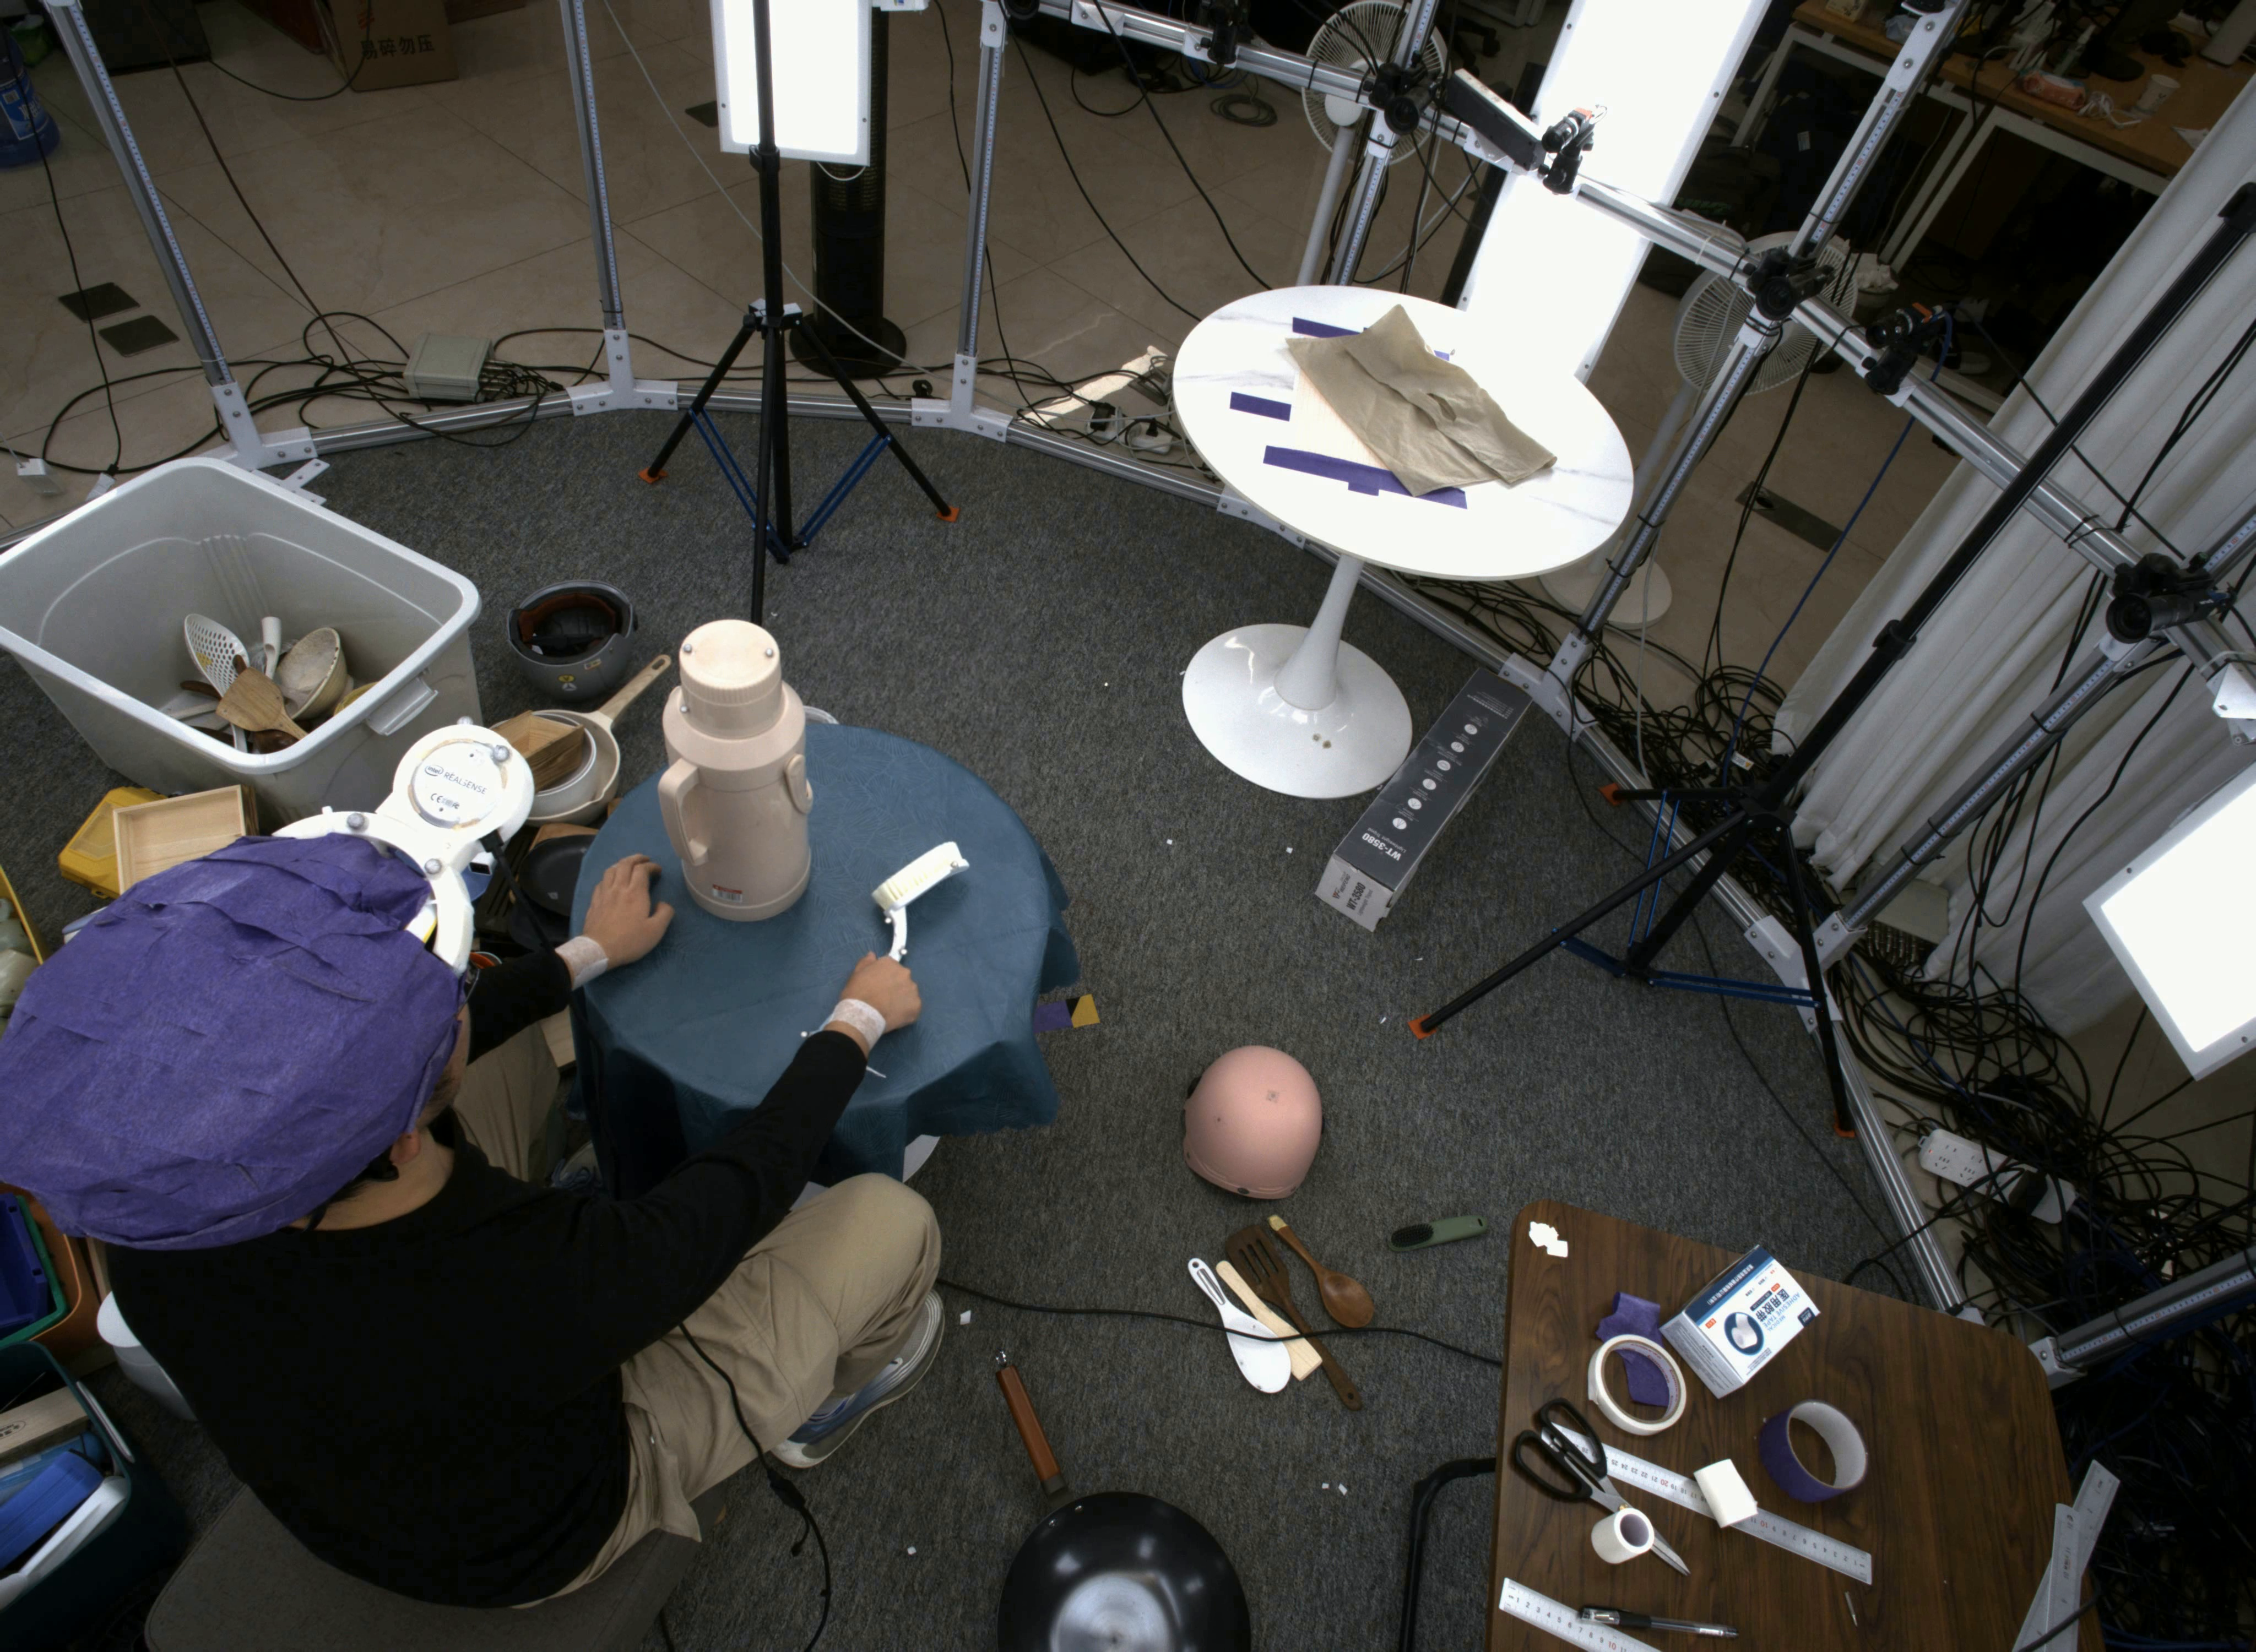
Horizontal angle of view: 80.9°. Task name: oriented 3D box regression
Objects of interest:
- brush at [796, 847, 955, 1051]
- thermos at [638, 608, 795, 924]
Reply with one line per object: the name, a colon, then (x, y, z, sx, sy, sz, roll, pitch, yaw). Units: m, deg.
brush: (-0.327, 0.132, 1.600, 0.082, 0.086, 0.324, 21, 52, 21)
thermos: (-0.482, -0.057, 1.489, 0.173, 0.414, 0.206, 27, 51, 8)
